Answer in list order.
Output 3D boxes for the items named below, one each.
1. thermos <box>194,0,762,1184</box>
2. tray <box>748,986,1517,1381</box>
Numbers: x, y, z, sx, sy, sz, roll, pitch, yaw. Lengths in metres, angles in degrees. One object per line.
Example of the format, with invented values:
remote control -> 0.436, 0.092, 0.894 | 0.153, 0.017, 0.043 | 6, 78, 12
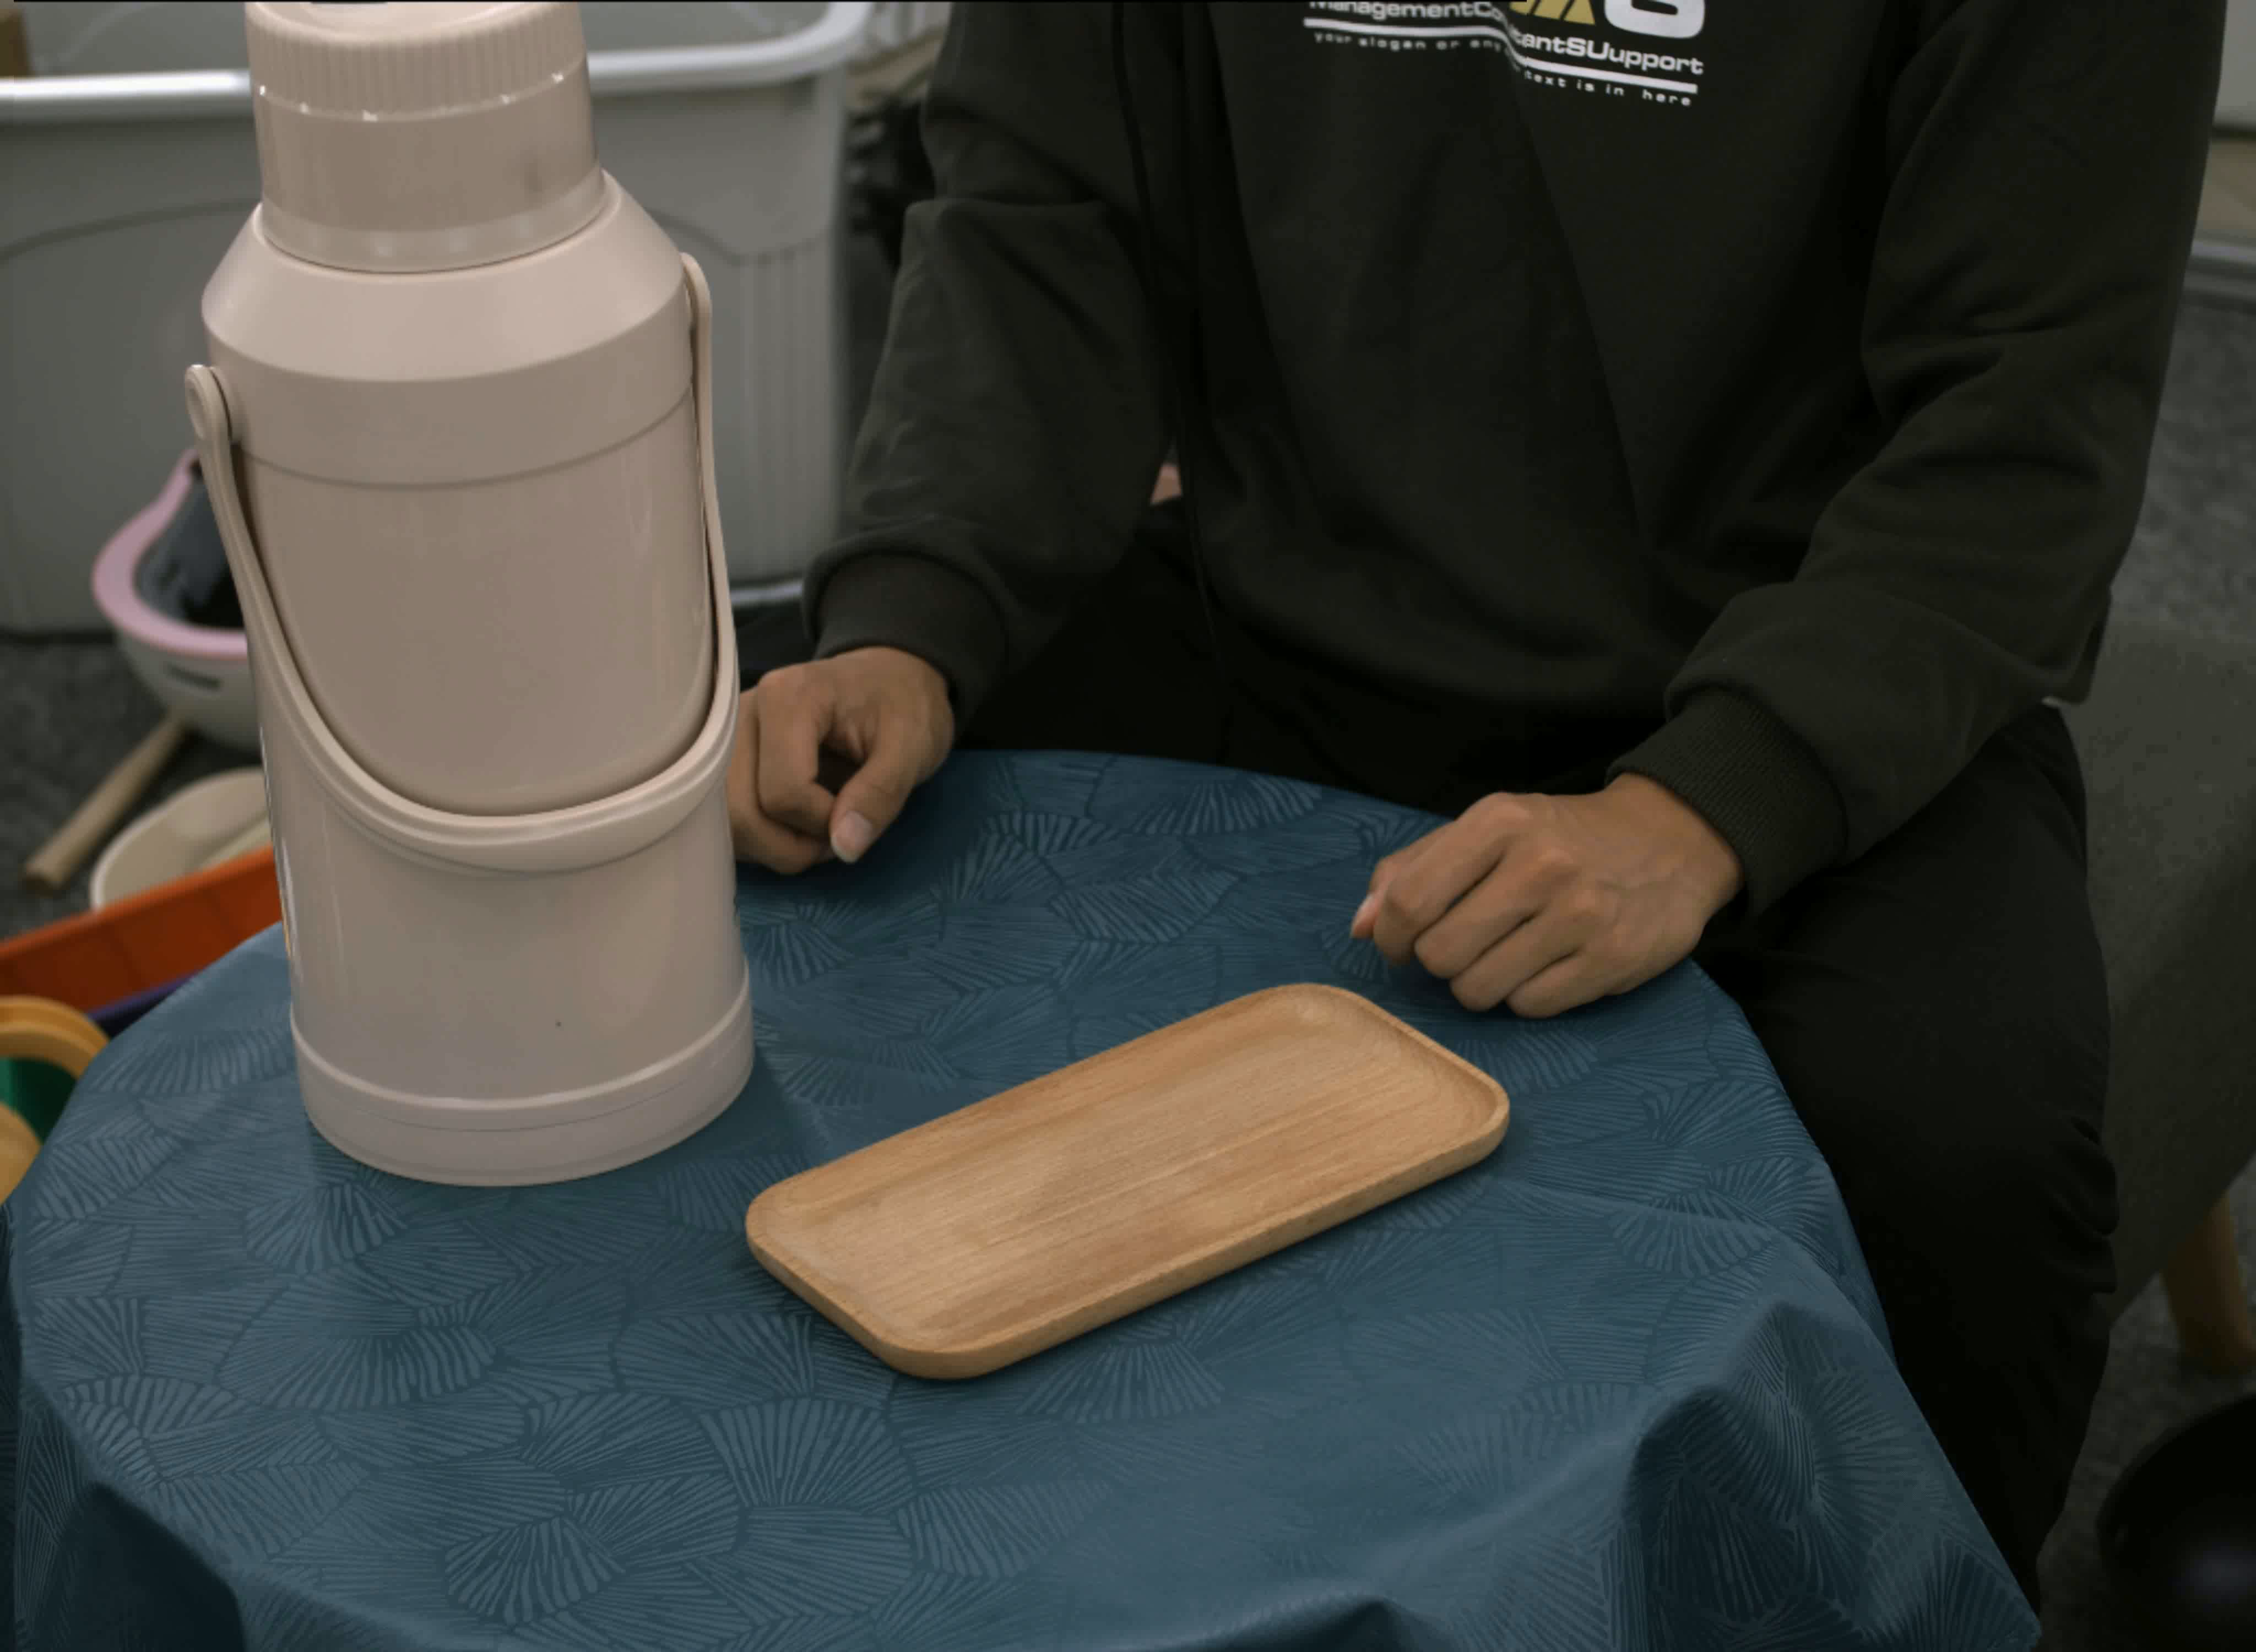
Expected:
thermos -> -0.220, -0.096, 1.879 | 0.176, 0.402, 0.208 | -17, 30, -24
tray -> 0.003, 0.117, 1.858 | 0.253, 0.022, 0.131 | -19, 34, -30
